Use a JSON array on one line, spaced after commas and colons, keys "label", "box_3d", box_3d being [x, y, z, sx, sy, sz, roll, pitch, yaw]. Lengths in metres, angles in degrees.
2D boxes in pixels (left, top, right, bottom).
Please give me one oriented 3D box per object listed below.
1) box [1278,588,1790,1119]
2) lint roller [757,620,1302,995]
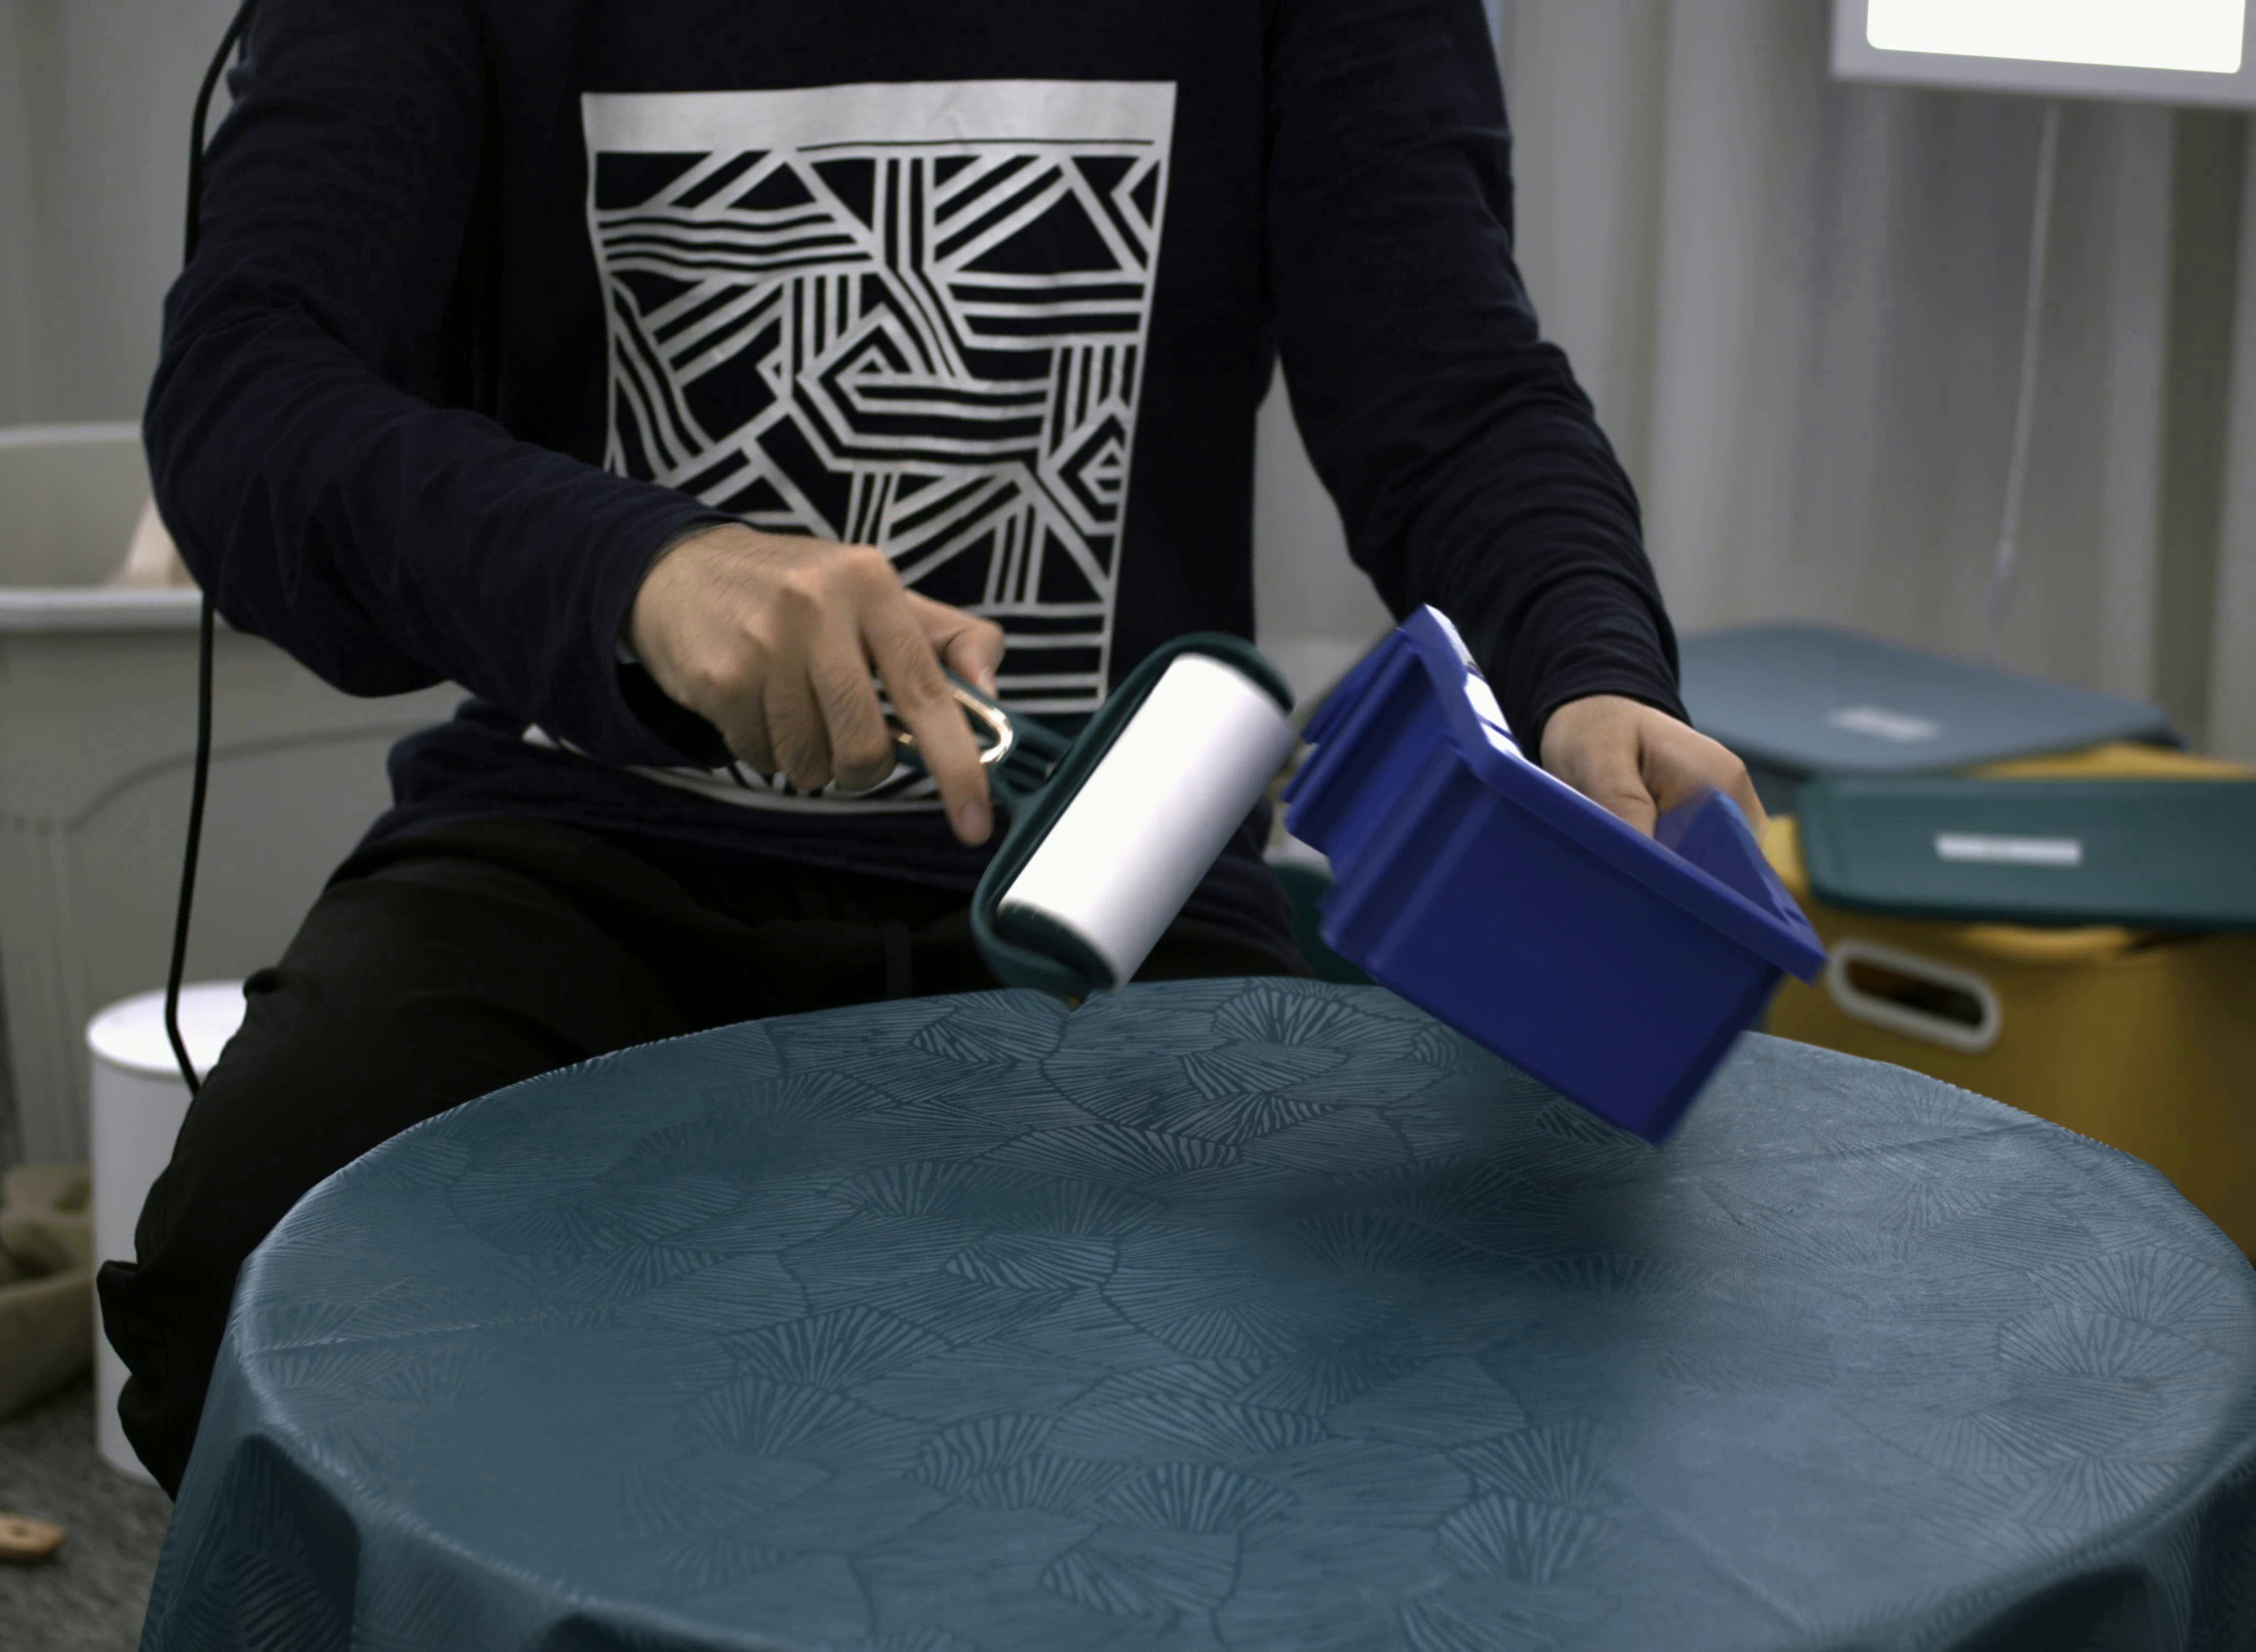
[{"label": "box", "box_3d": [0.117, 0.004, 1.597, 0.125, 0.082, 0.178, 31, 15, -11]}, {"label": "lint roller", "box_3d": [-0.047, -0.031, 1.660, 0.178, 0.049, 0.134, 25, 68, 23]}]
